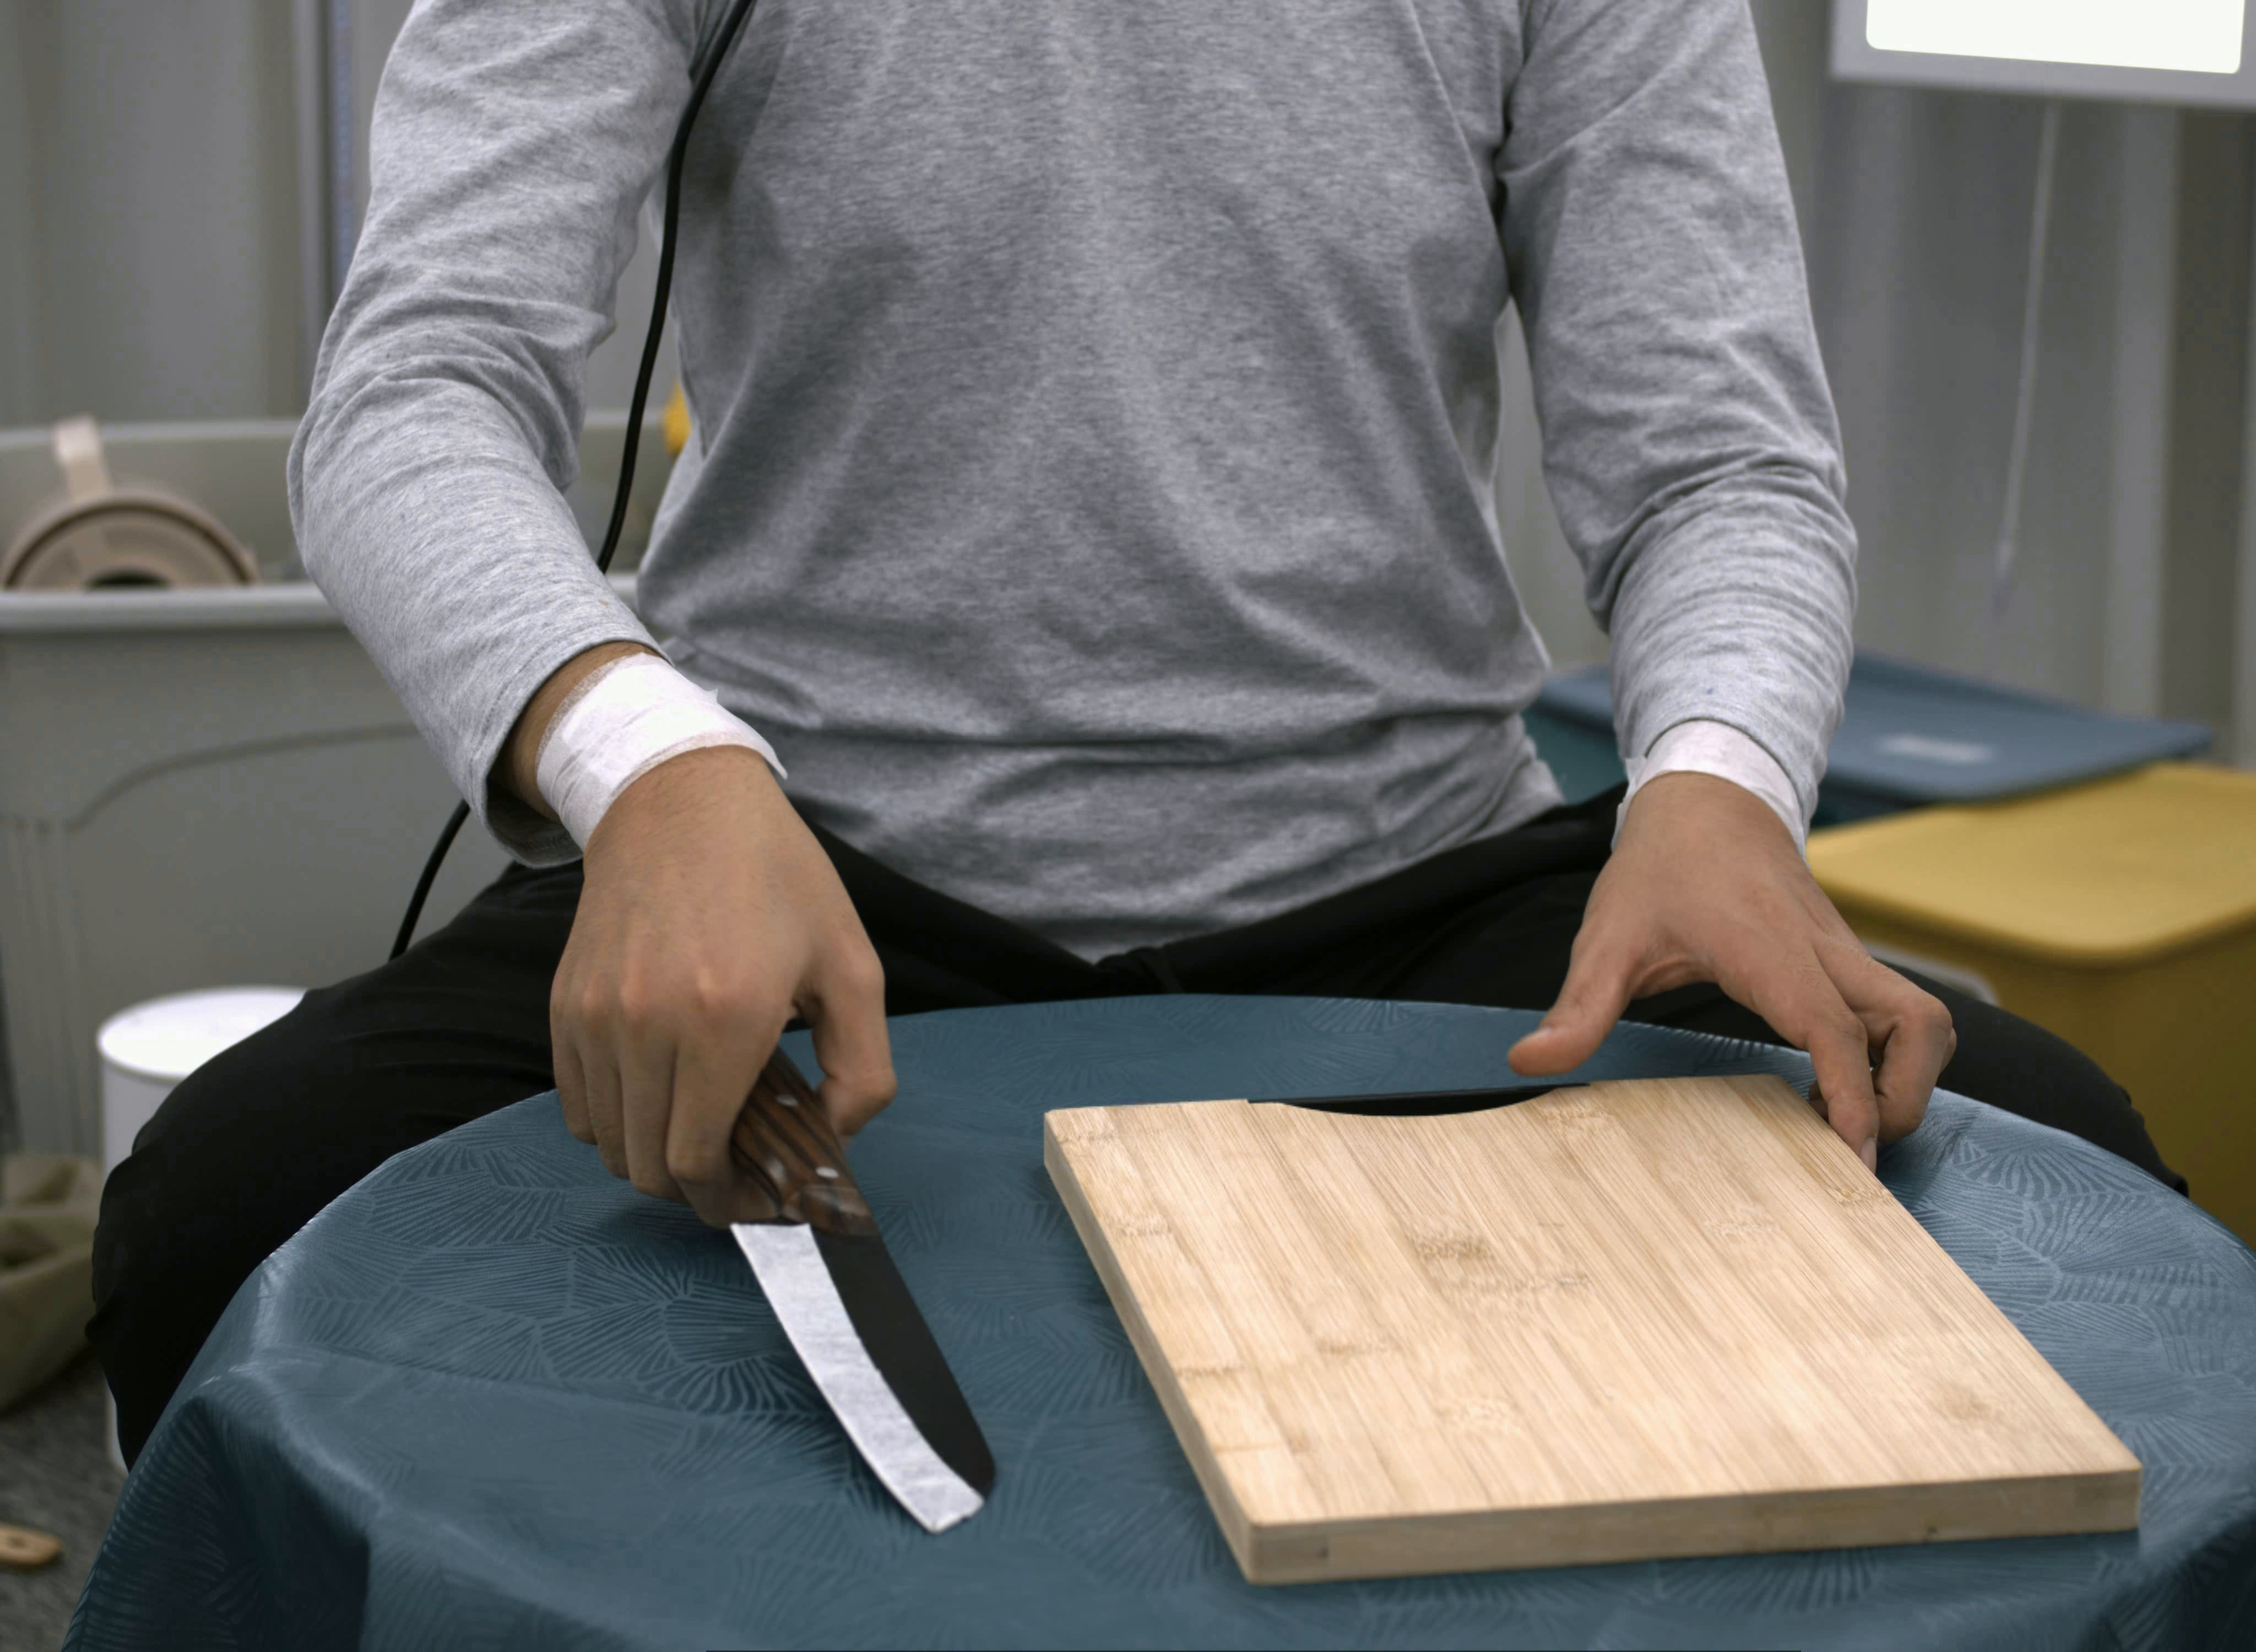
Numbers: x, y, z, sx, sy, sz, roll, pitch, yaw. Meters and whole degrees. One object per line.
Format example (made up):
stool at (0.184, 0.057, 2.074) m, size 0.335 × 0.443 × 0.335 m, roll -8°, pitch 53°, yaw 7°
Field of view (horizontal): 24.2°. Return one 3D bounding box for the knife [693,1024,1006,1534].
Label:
knife at (-0.084, 0.125, 1.488) m, size 0.050 × 0.020 × 0.286 m, roll 4°, pitch 23°, yaw -18°

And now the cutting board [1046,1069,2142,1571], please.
cutting board at (0.119, 0.135, 1.516) m, size 0.251 × 0.024 × 0.345 m, roll -2°, pitch 16°, yaw -10°
